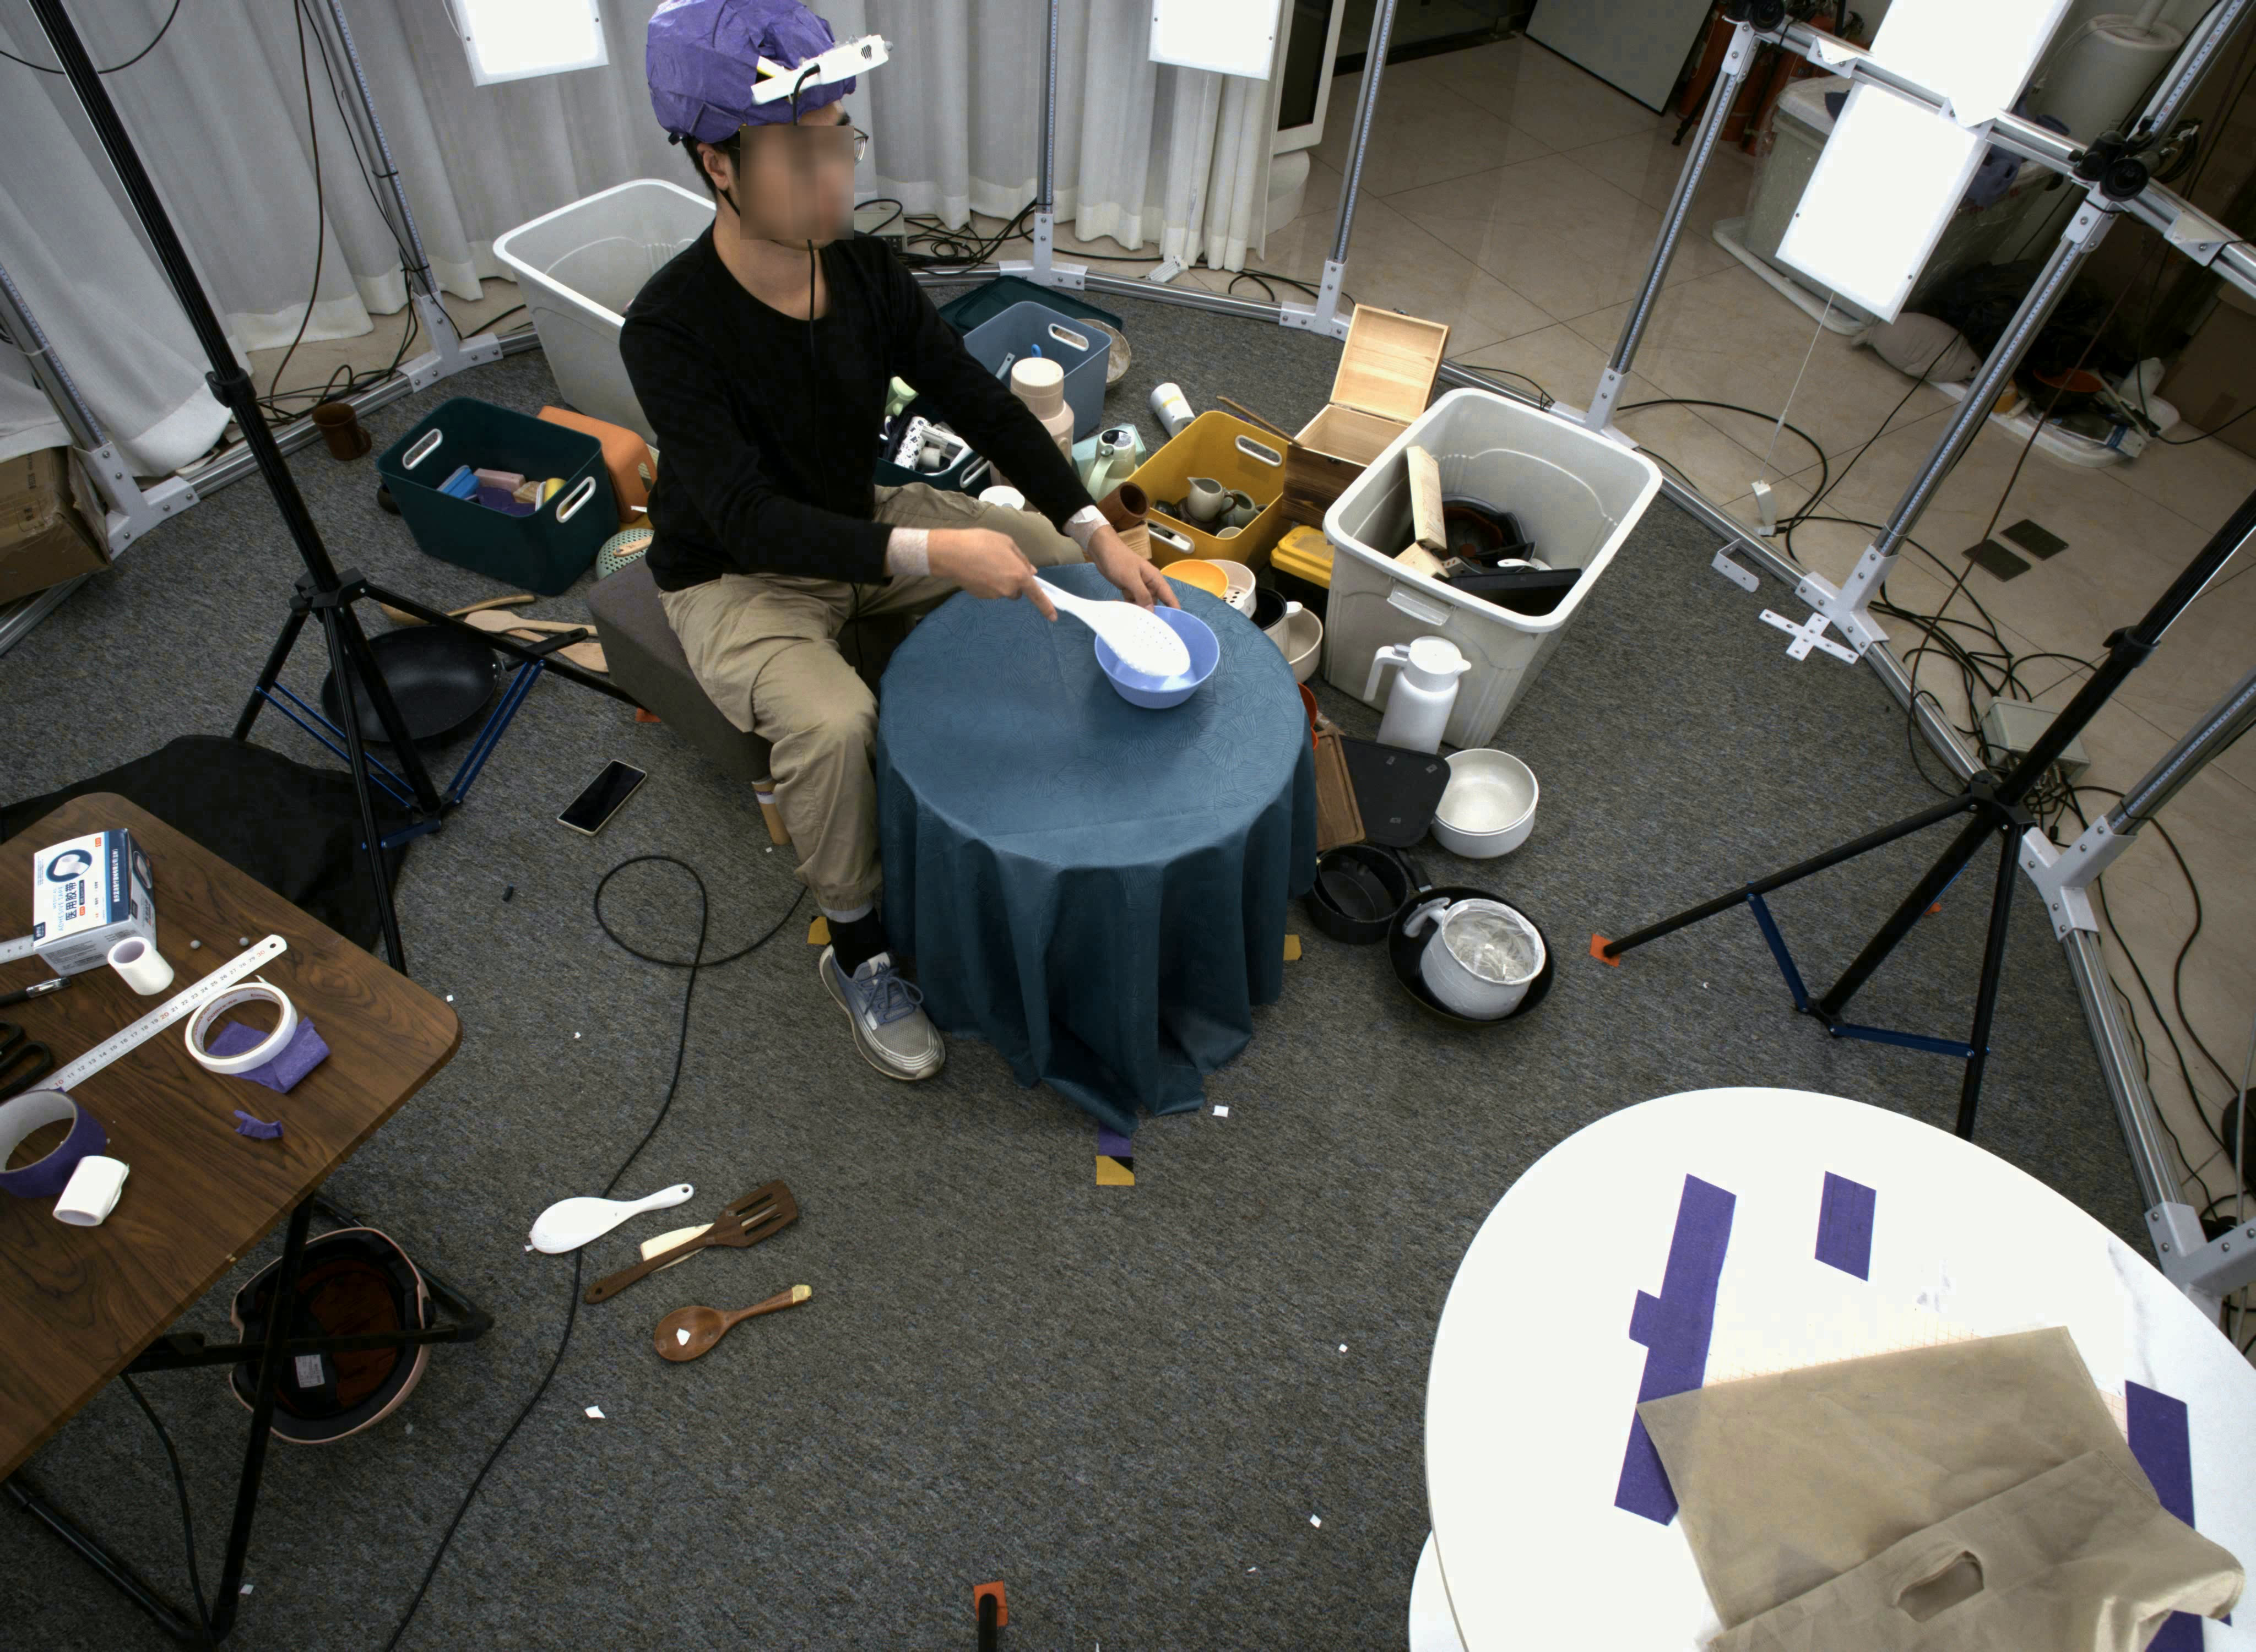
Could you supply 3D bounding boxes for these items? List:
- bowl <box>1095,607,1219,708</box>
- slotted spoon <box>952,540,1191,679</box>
[{"bbox_3d":[0.039,-0.232,1.828,0.176,0.068,0.180,2,48,-2],"label":"bowl"},{"bbox_3d":[-0.069,-0.285,1.687,0.346,0.045,0.139,27,37,-22],"label":"slotted spoon"}]
